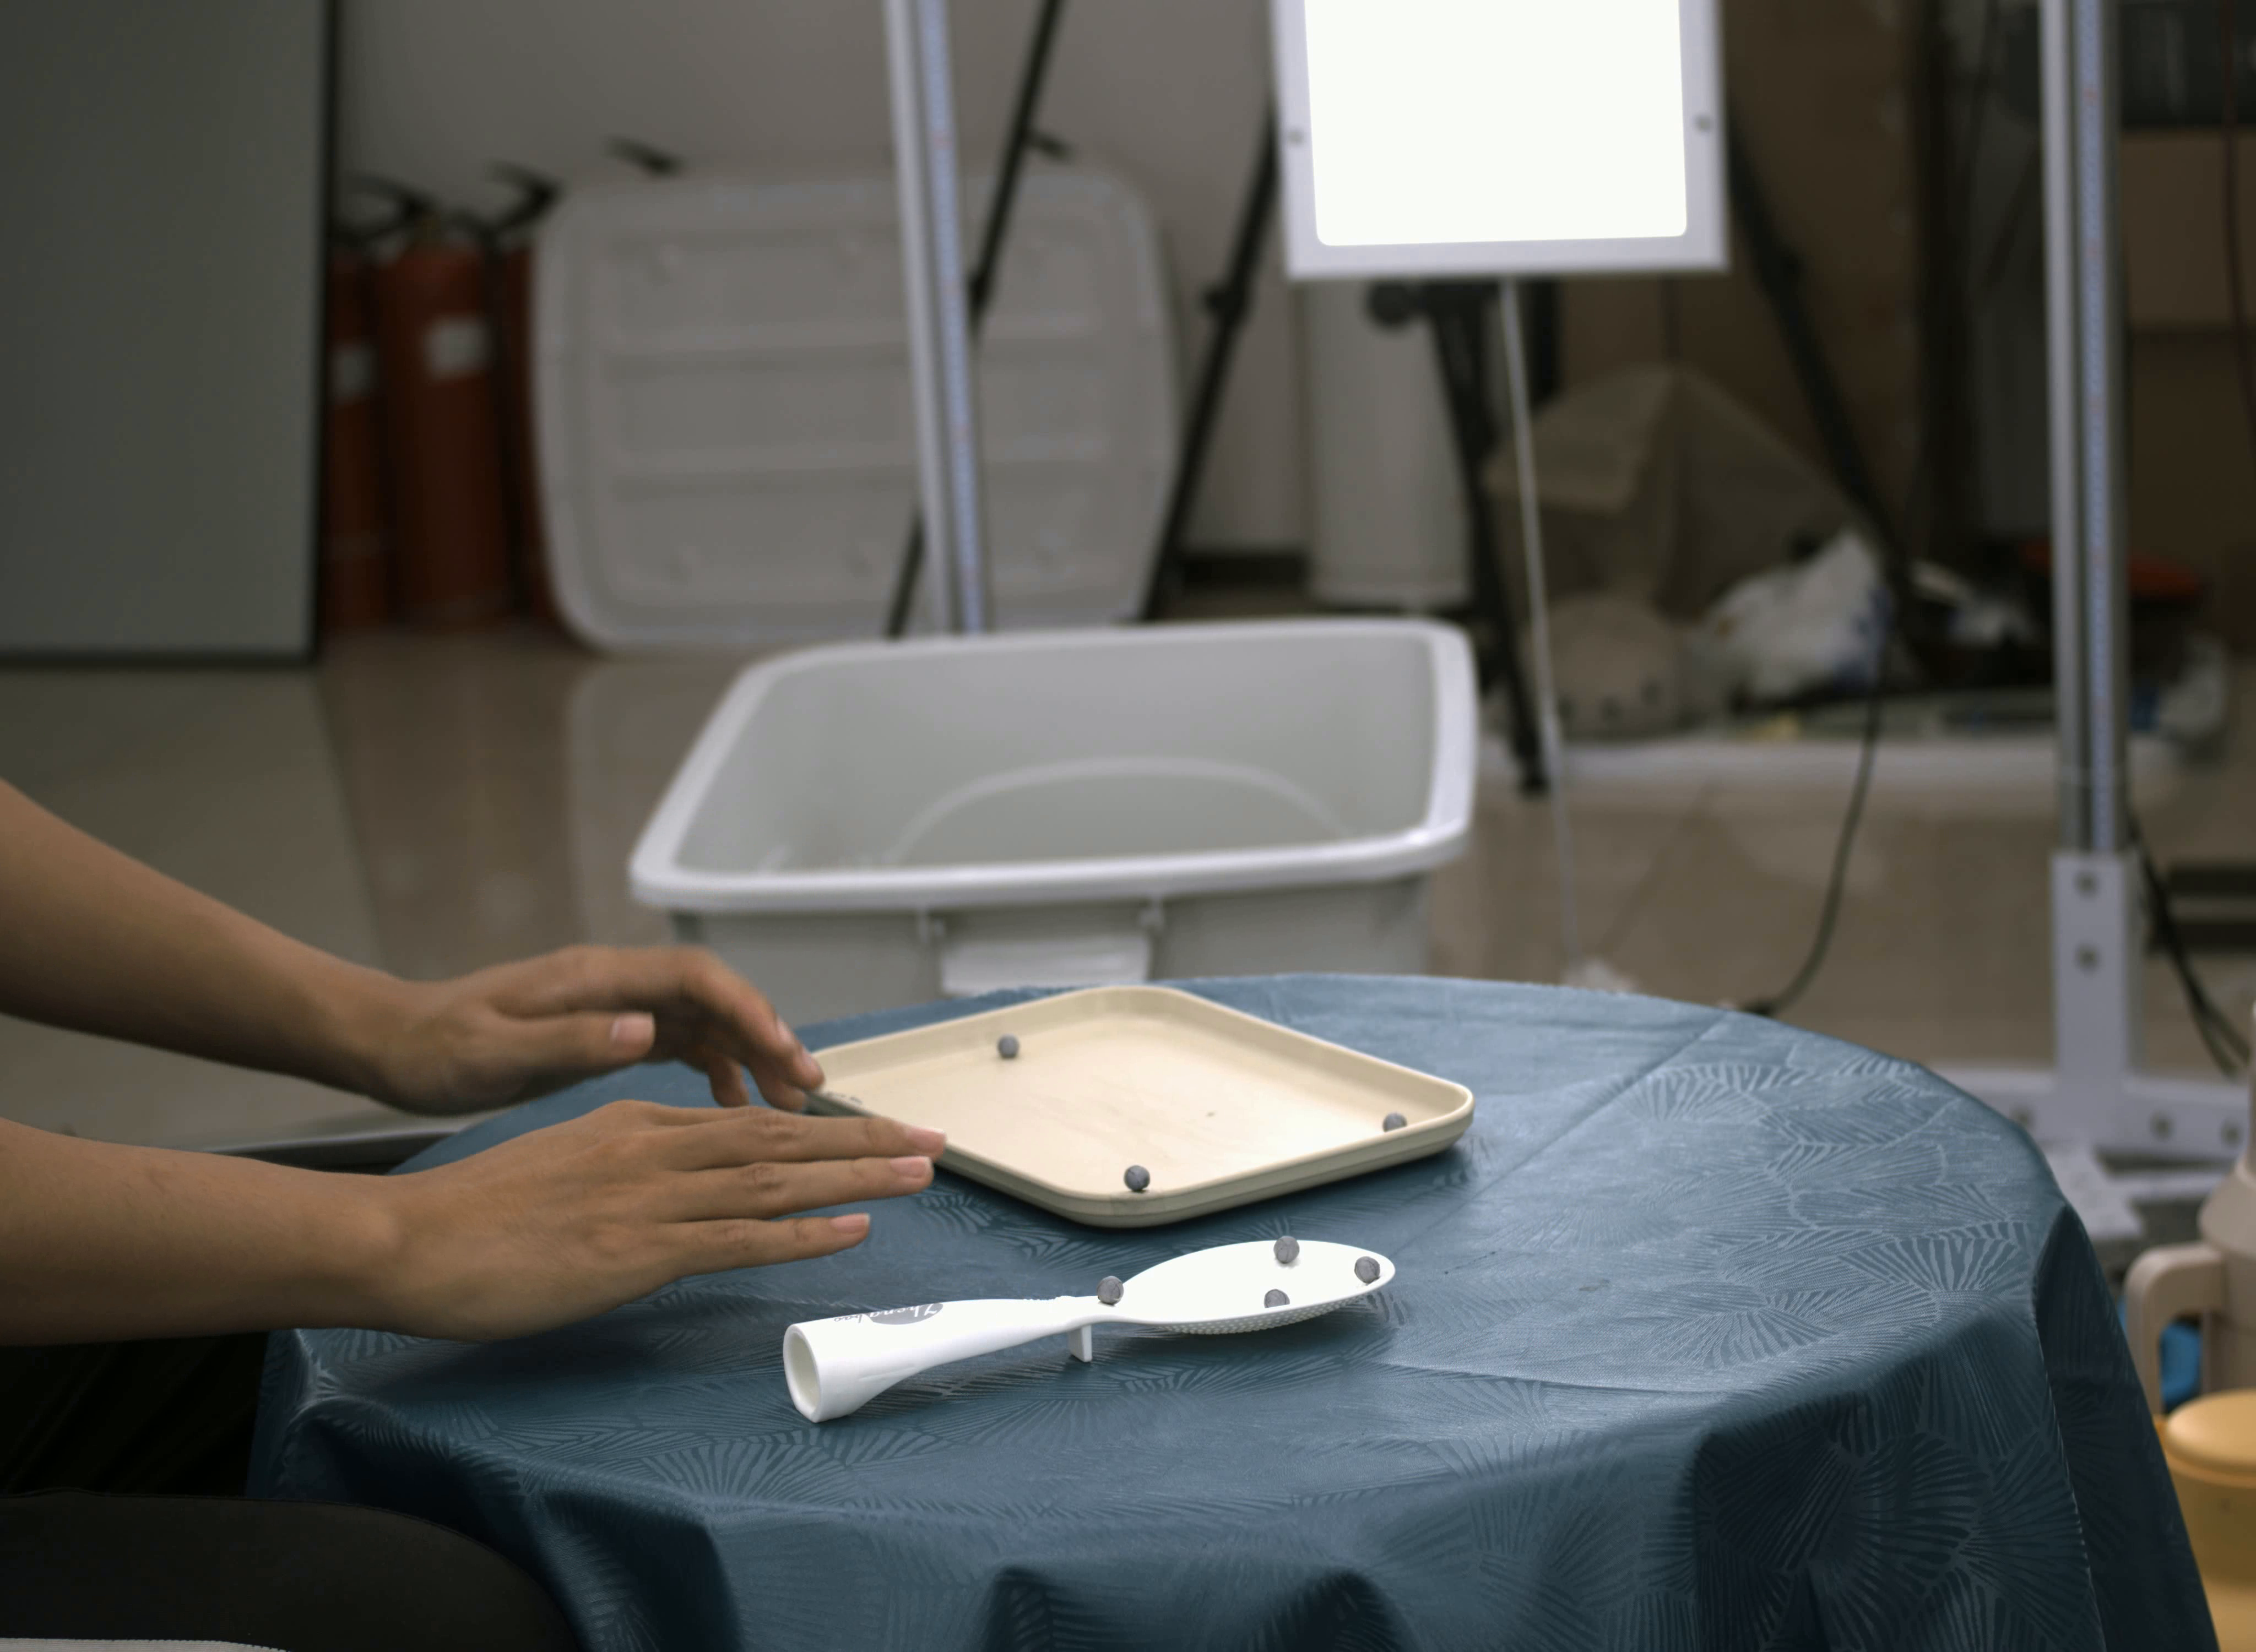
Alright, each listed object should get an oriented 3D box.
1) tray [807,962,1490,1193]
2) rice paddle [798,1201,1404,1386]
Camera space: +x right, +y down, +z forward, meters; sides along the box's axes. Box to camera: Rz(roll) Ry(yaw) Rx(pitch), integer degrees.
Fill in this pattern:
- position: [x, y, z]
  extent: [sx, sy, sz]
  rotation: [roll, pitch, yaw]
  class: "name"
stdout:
- position: [0.005, 0.090, 1.986]
  extent: [0.167, 0.017, 0.244]
  rotation: [-12, 15, -30]
  class: "tray"
- position: [-0.005, 0.141, 1.744]
  extent: [0.201, 0.029, 0.070]
  rotation: [-10, 16, -21]
  class: "rice paddle"
